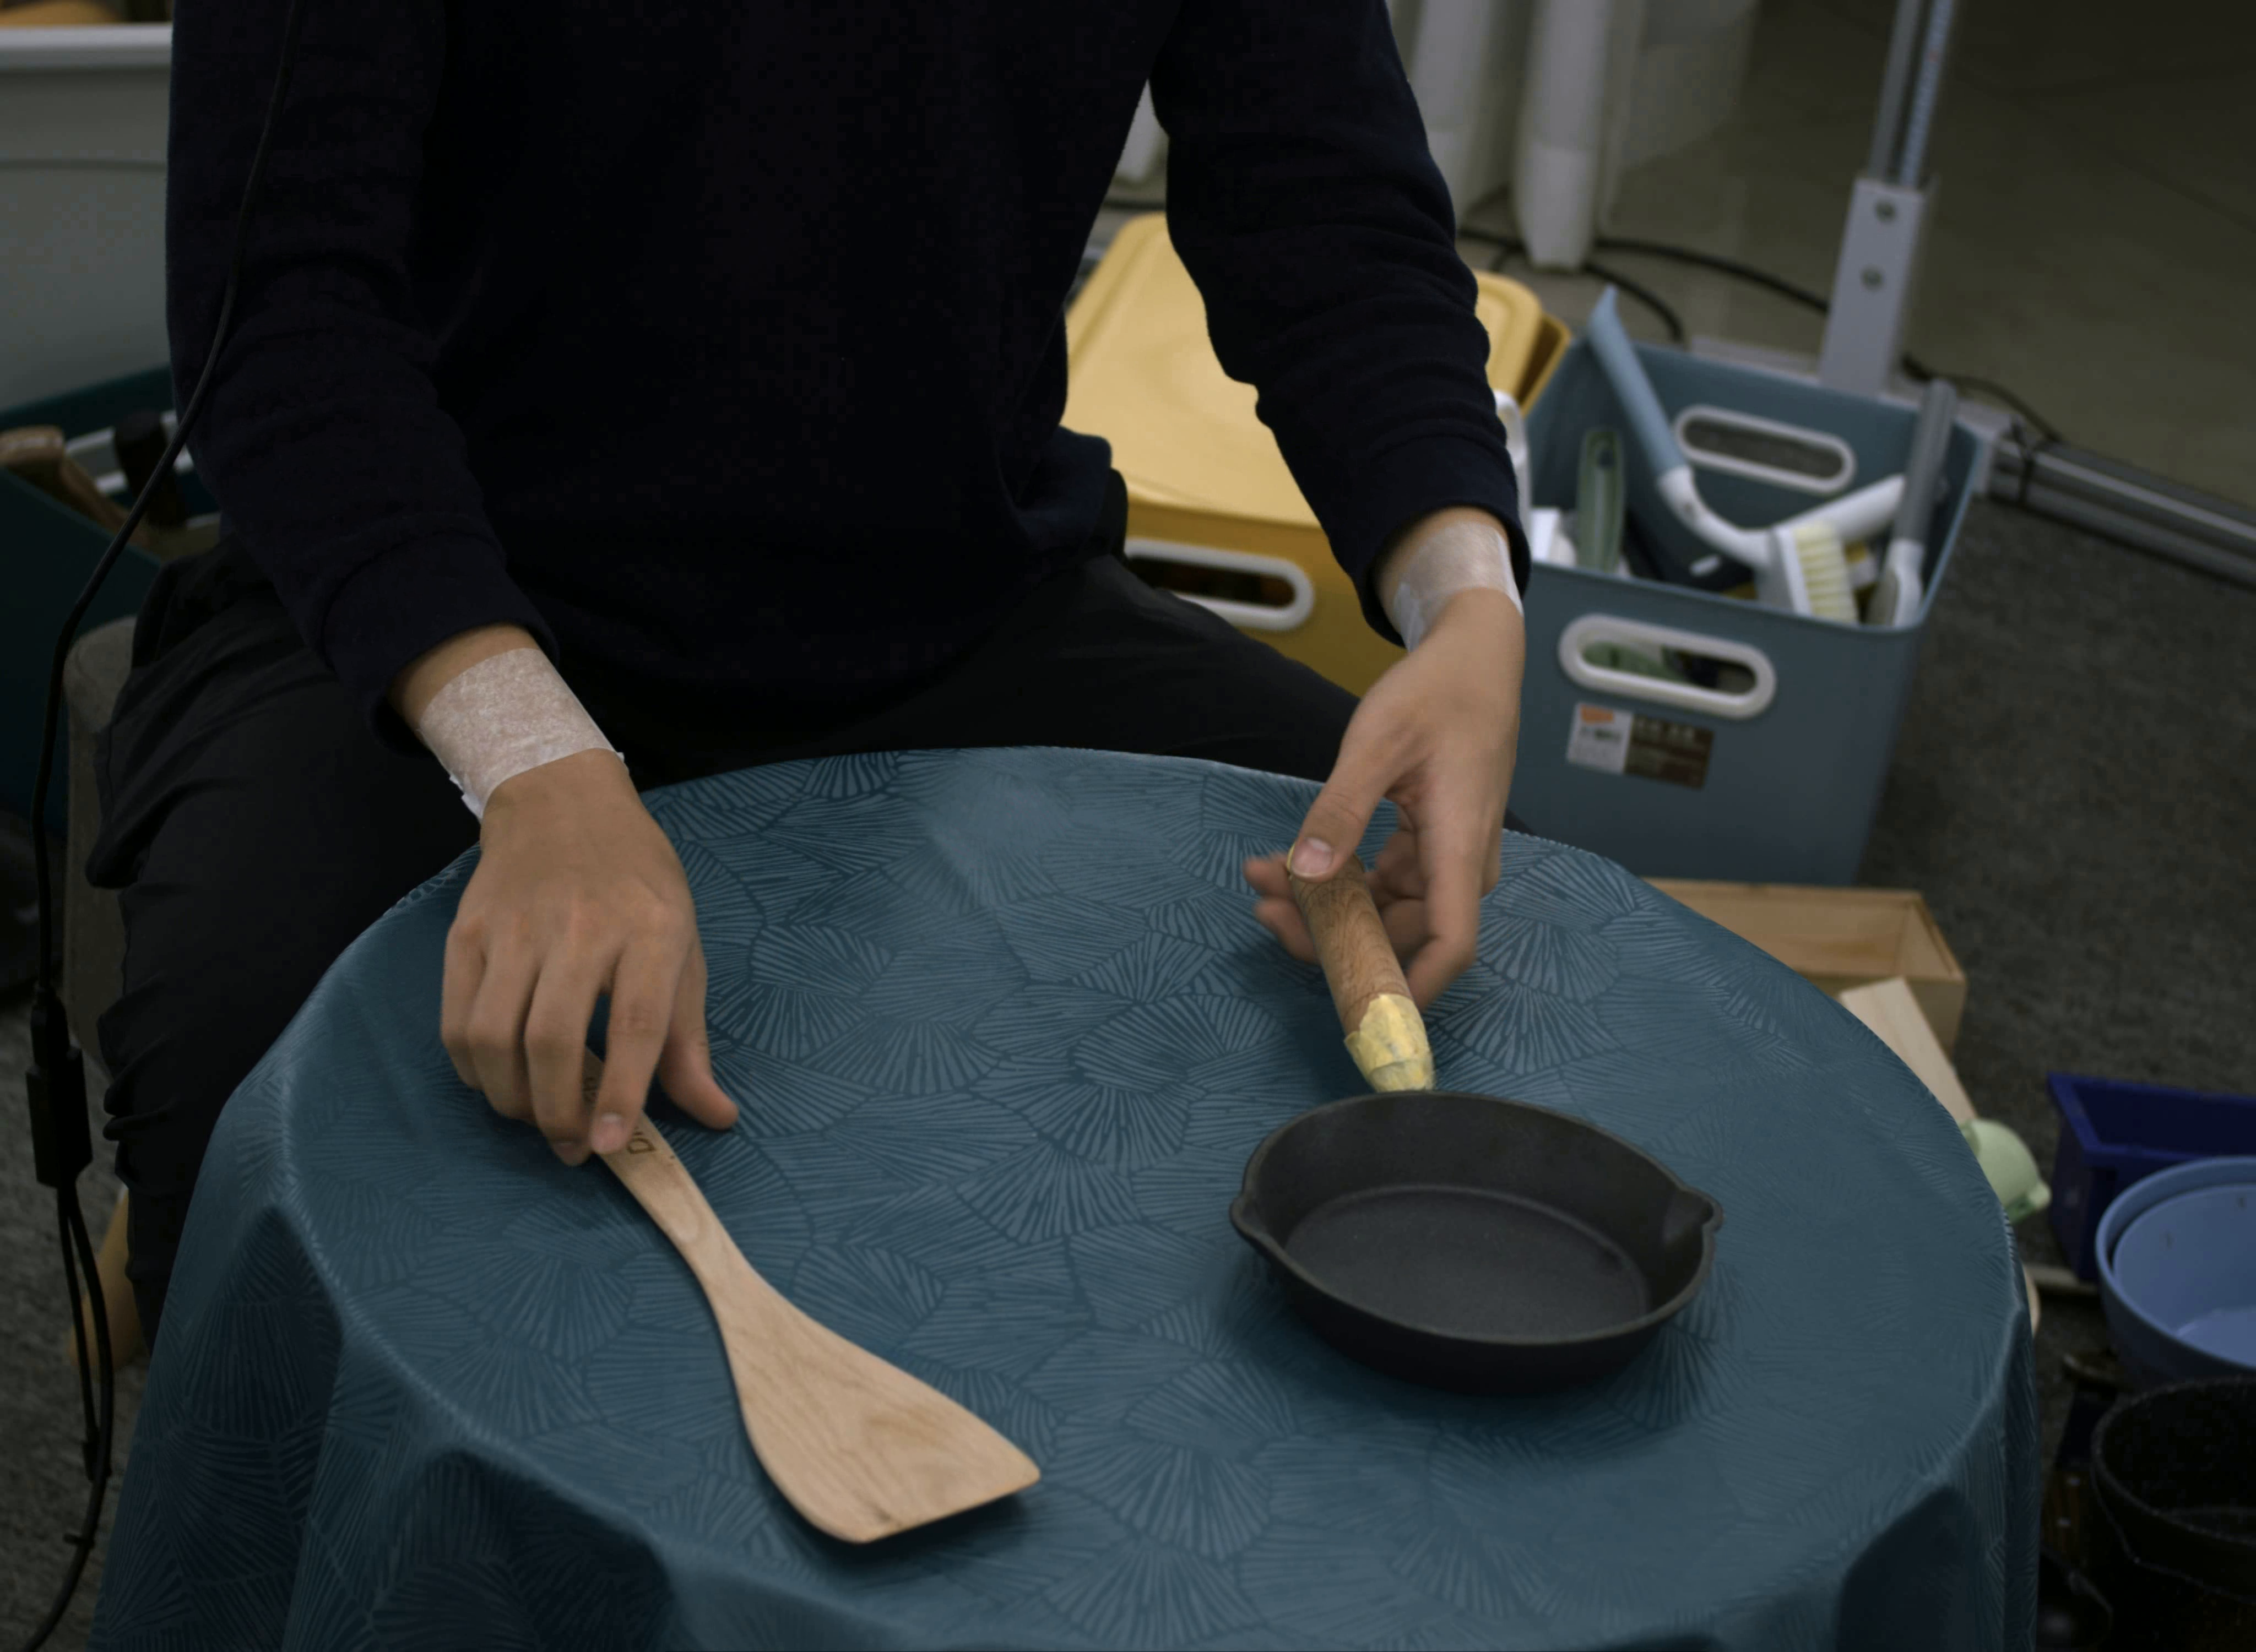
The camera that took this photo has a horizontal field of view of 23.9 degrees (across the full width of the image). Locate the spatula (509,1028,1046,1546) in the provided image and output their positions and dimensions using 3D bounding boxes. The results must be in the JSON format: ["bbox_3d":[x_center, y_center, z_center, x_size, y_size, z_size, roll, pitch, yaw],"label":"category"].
[{"bbox_3d":[-0.128,0.142,1.720,0.079,0.016,0.330,-8,30,-28],"label":"spatula"}]

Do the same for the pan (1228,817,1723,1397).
[{"bbox_3d":[0.100,0.093,1.829,0.168,0.049,0.327,1,29,-11],"label":"pan"}]
